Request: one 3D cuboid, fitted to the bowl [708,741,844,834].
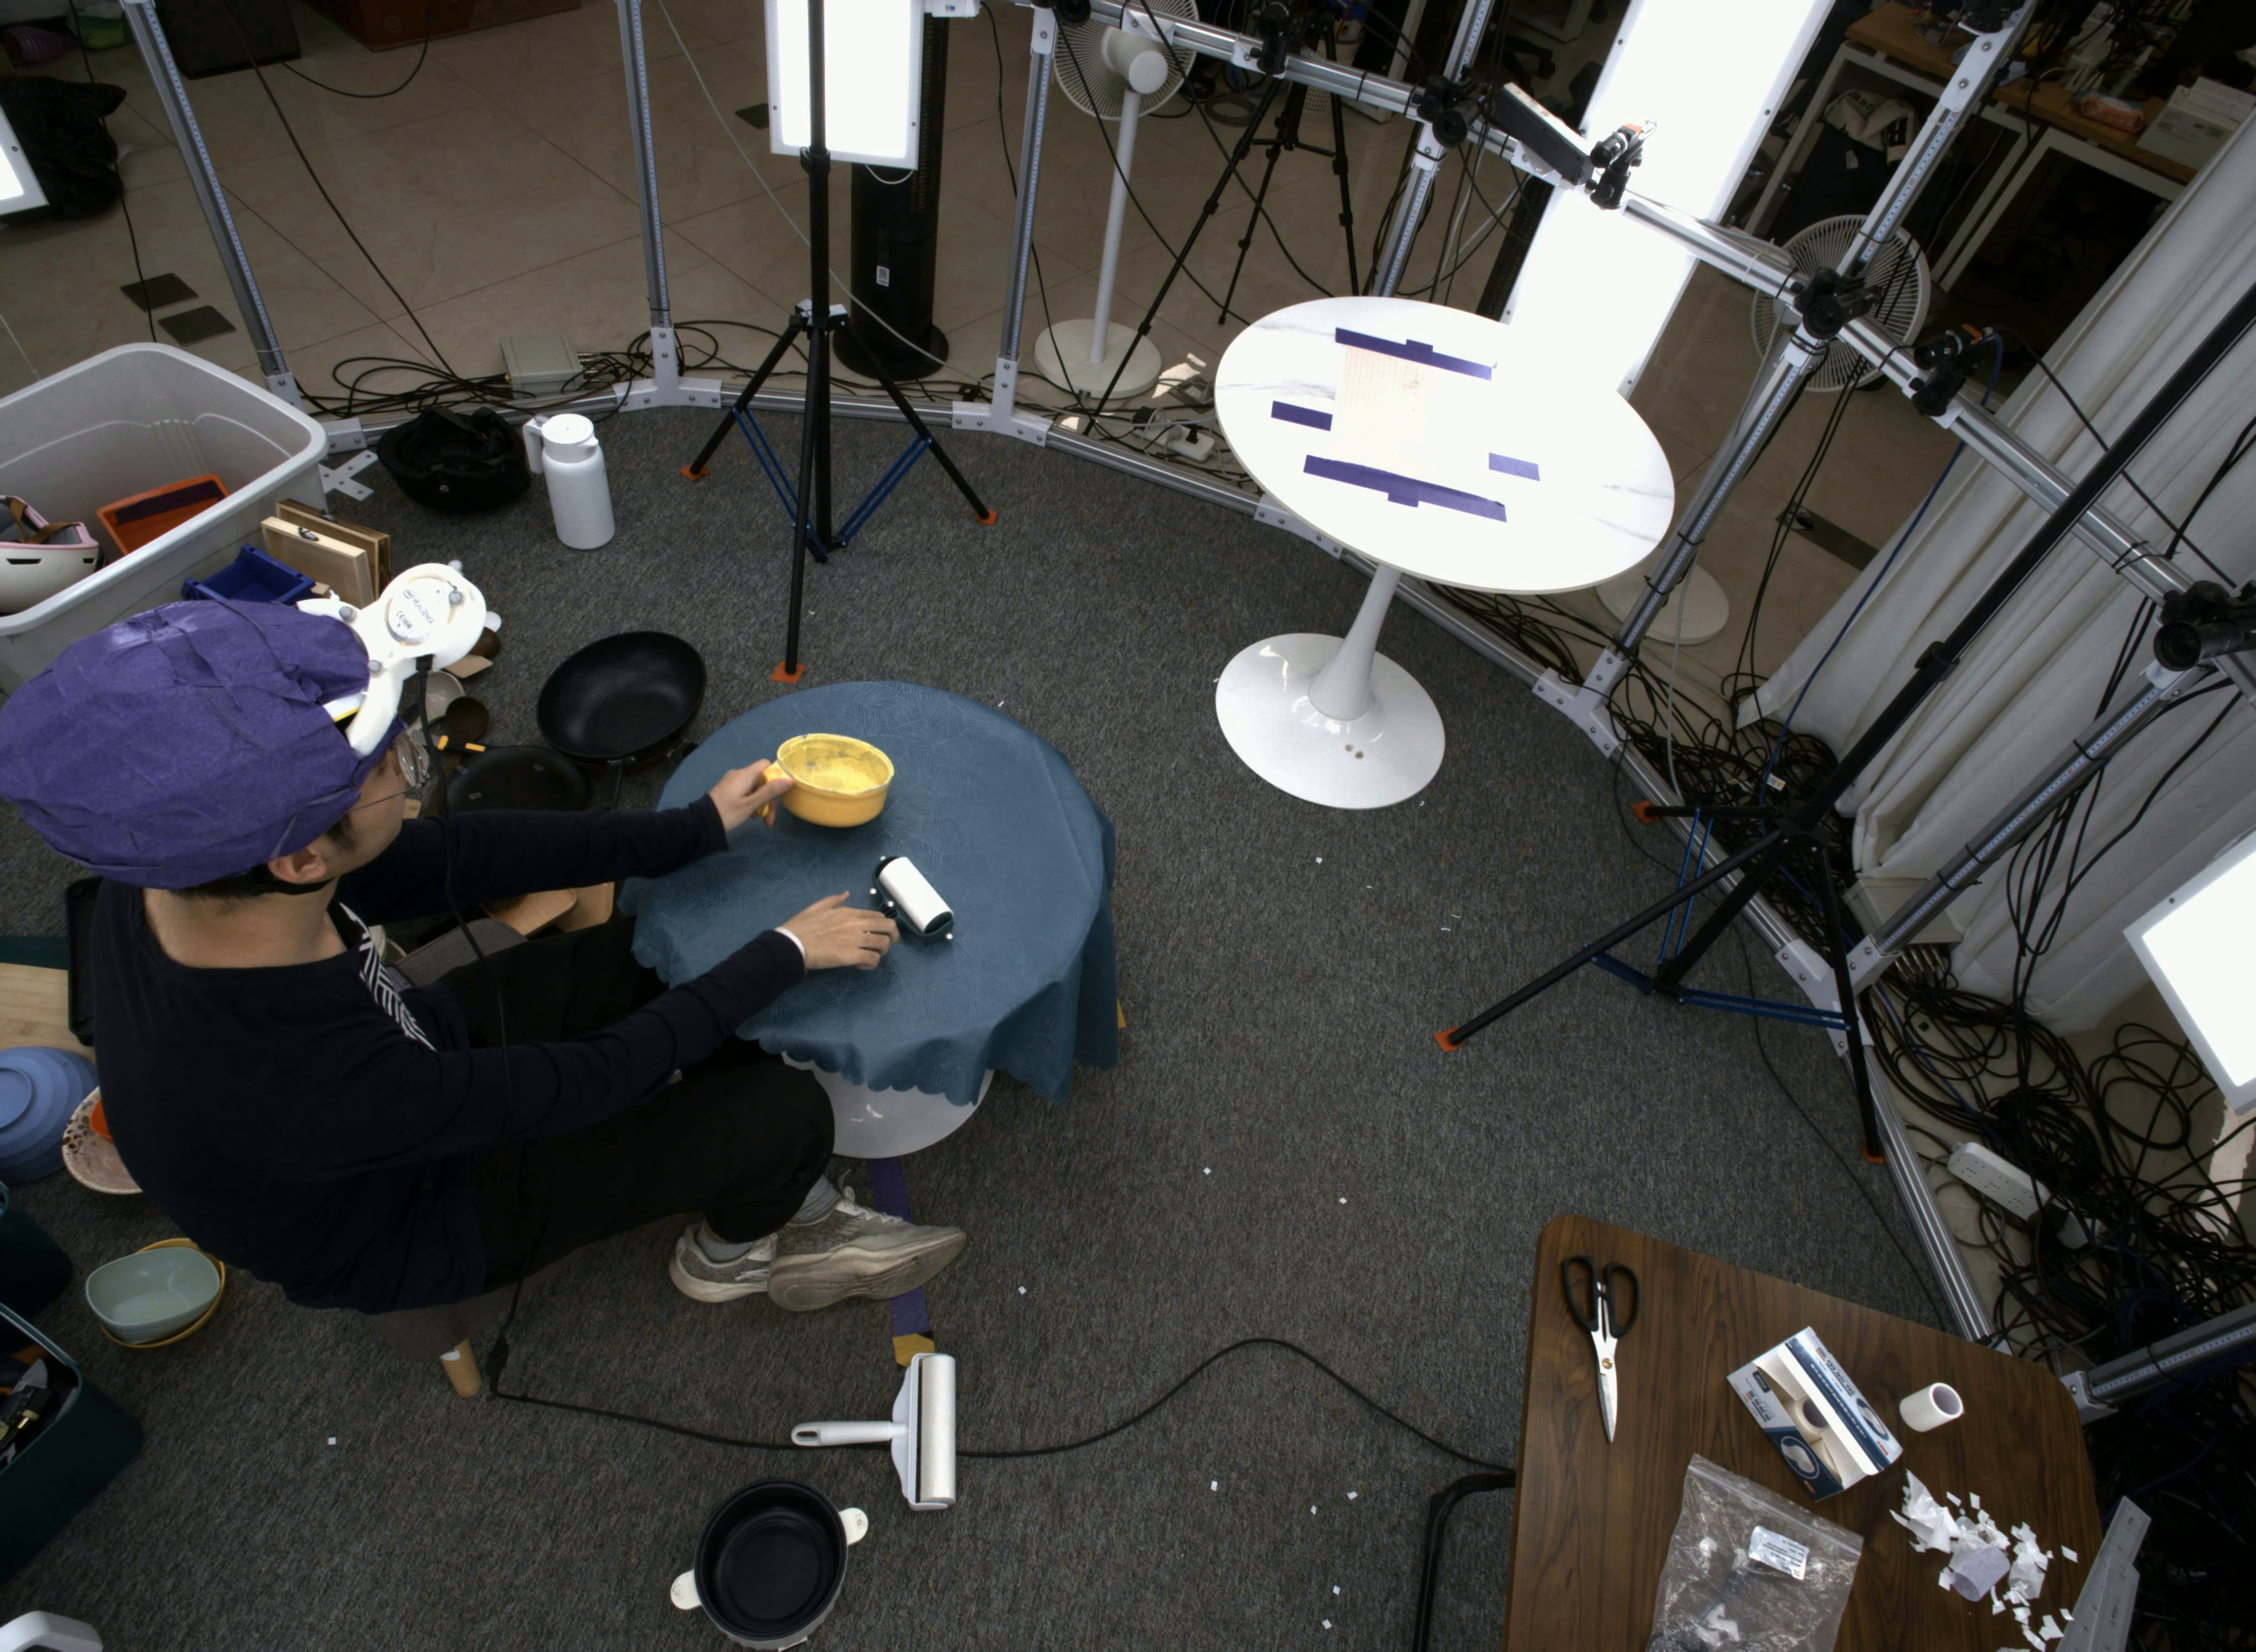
[{"bbox_3d":[-0.464,-0.046,1.693,0.148,0.076,0.181,35,34,27],"label":"bowl"}]

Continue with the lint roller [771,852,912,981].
[{"bbox_3d":[-0.375,0.127,1.629,0.180,0.049,0.131,-36,69,-28],"label":"lint roller"}]
